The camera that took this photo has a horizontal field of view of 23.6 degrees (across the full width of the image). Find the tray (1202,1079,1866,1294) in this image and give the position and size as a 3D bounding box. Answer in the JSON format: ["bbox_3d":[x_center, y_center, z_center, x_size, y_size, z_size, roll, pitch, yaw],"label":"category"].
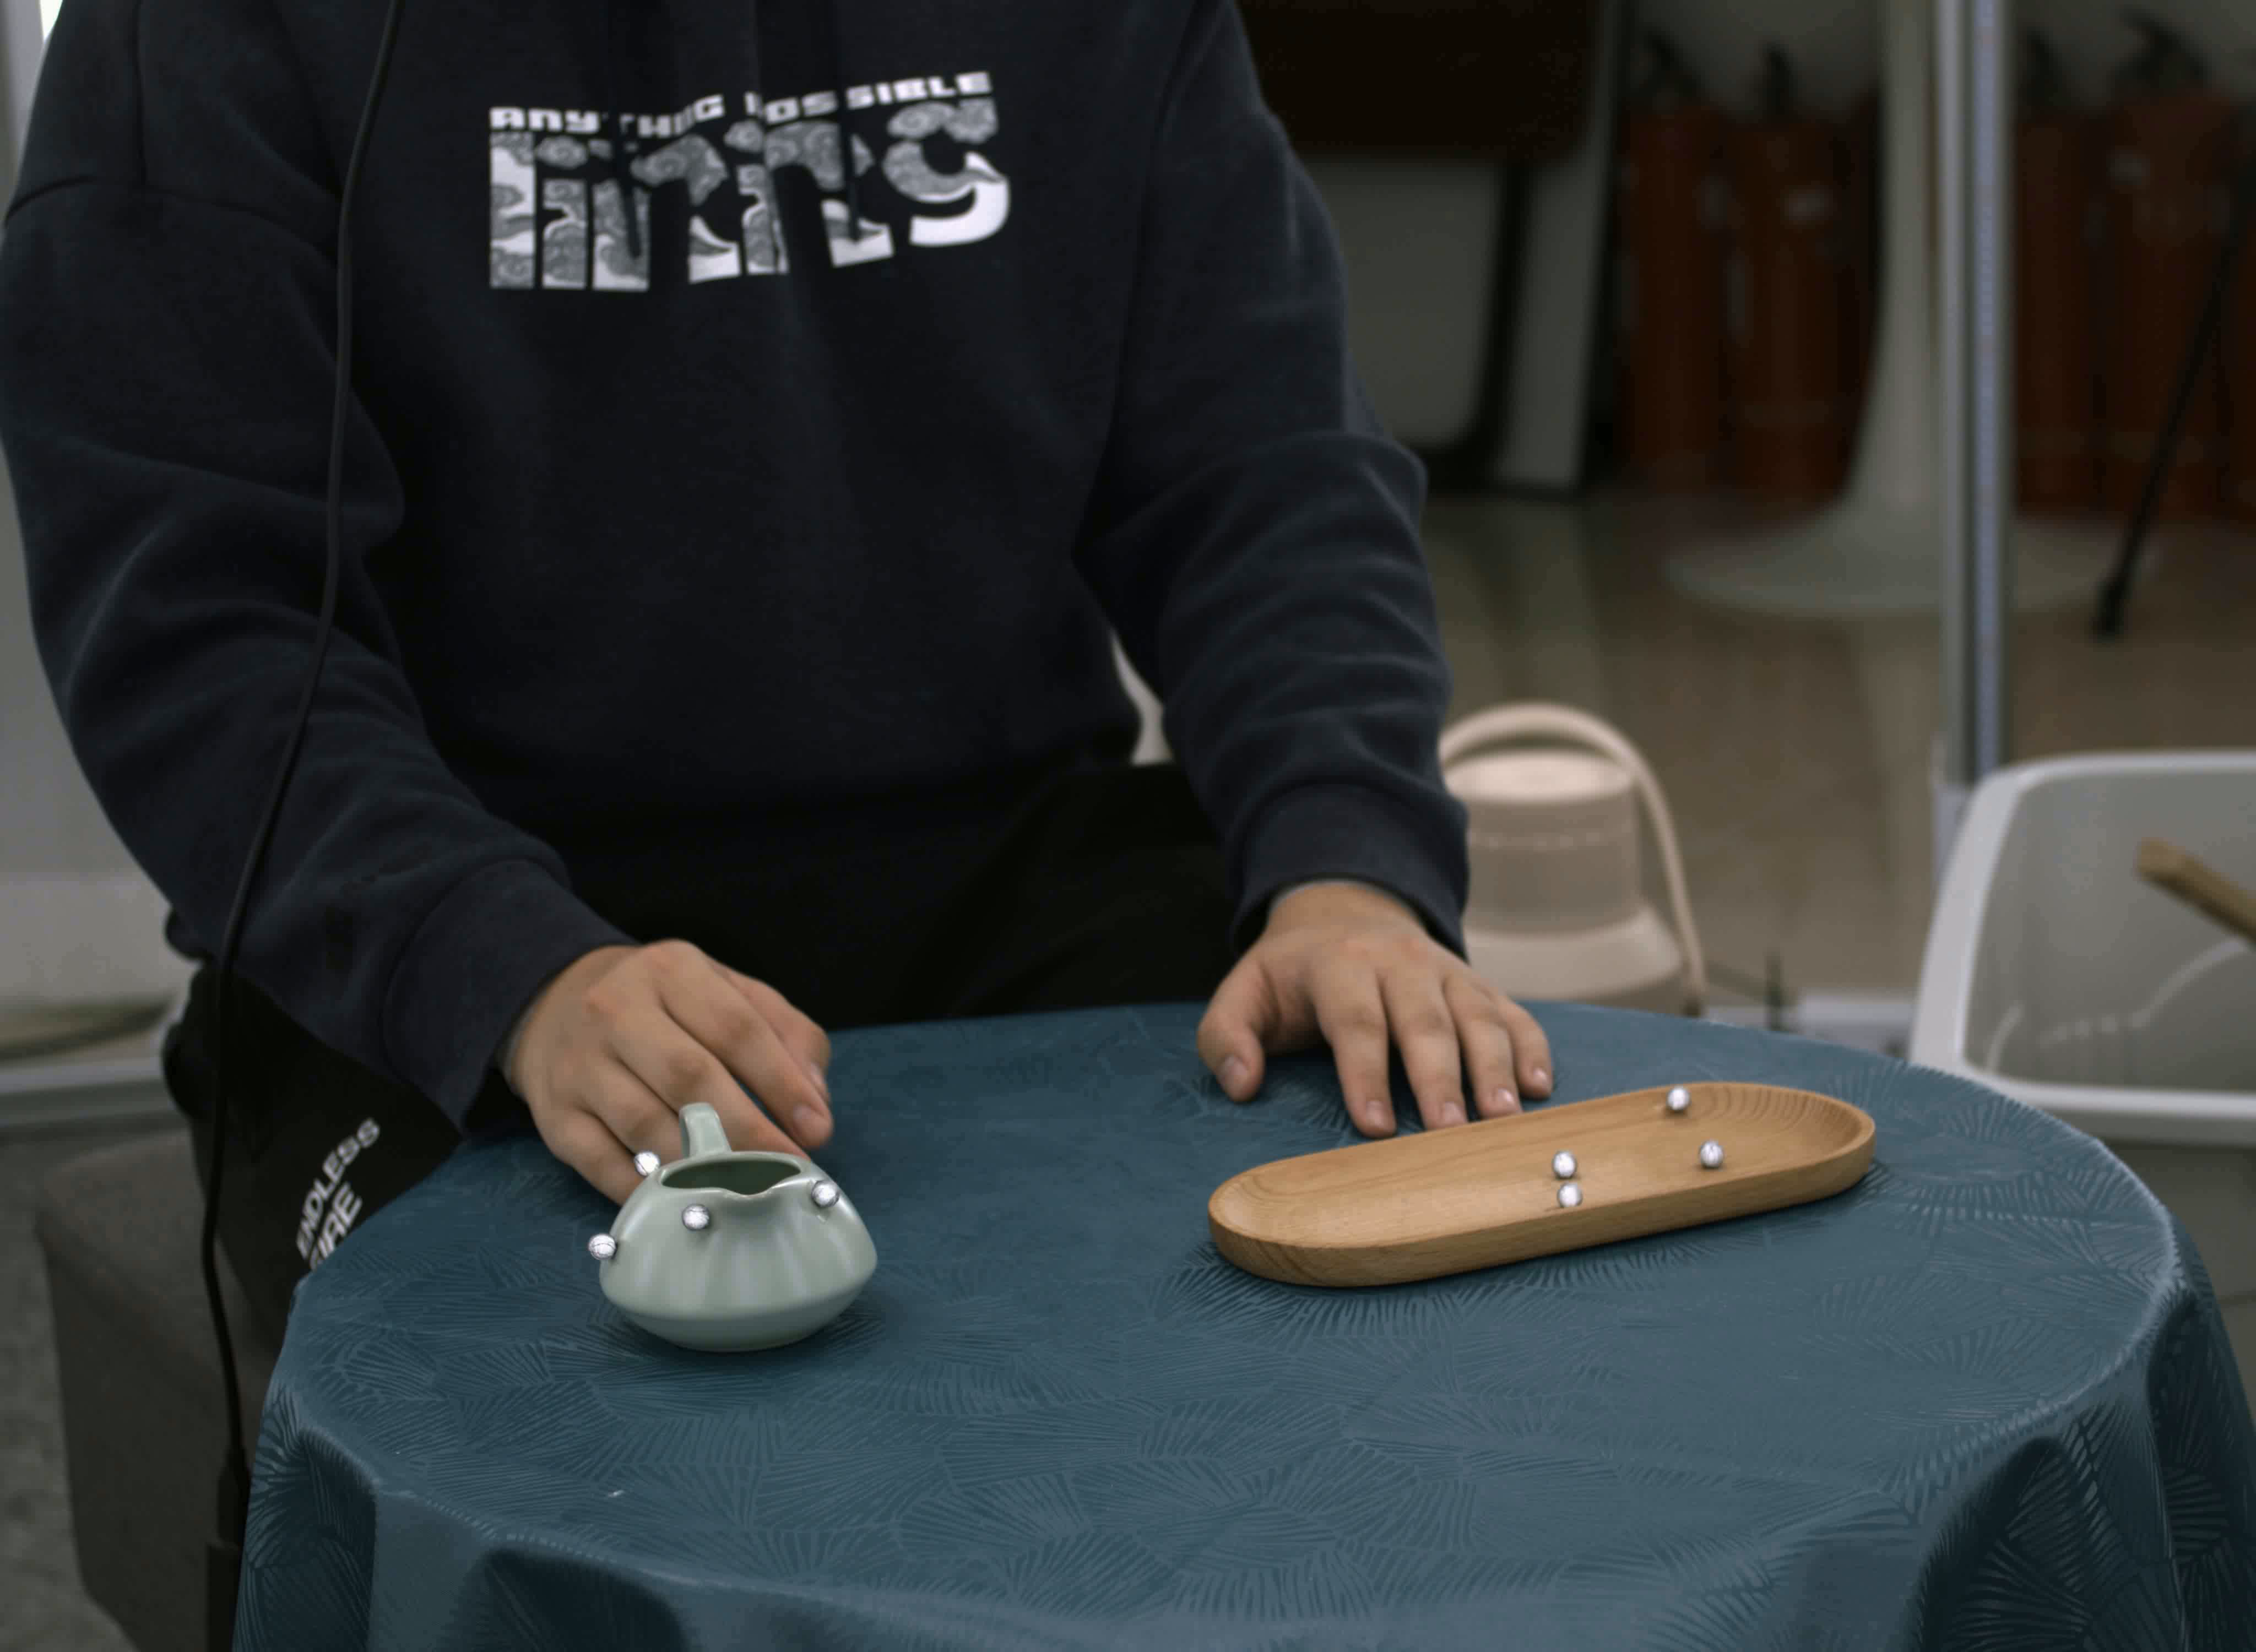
[{"bbox_3d":[0.132,0.115,1.728,0.226,0.020,0.102,-12,14,-22],"label":"tray"}]

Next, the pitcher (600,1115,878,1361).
[{"bbox_3d":[-0.123,0.128,1.668,0.084,0.061,0.109,-6,11,-15],"label":"pitcher"}]
